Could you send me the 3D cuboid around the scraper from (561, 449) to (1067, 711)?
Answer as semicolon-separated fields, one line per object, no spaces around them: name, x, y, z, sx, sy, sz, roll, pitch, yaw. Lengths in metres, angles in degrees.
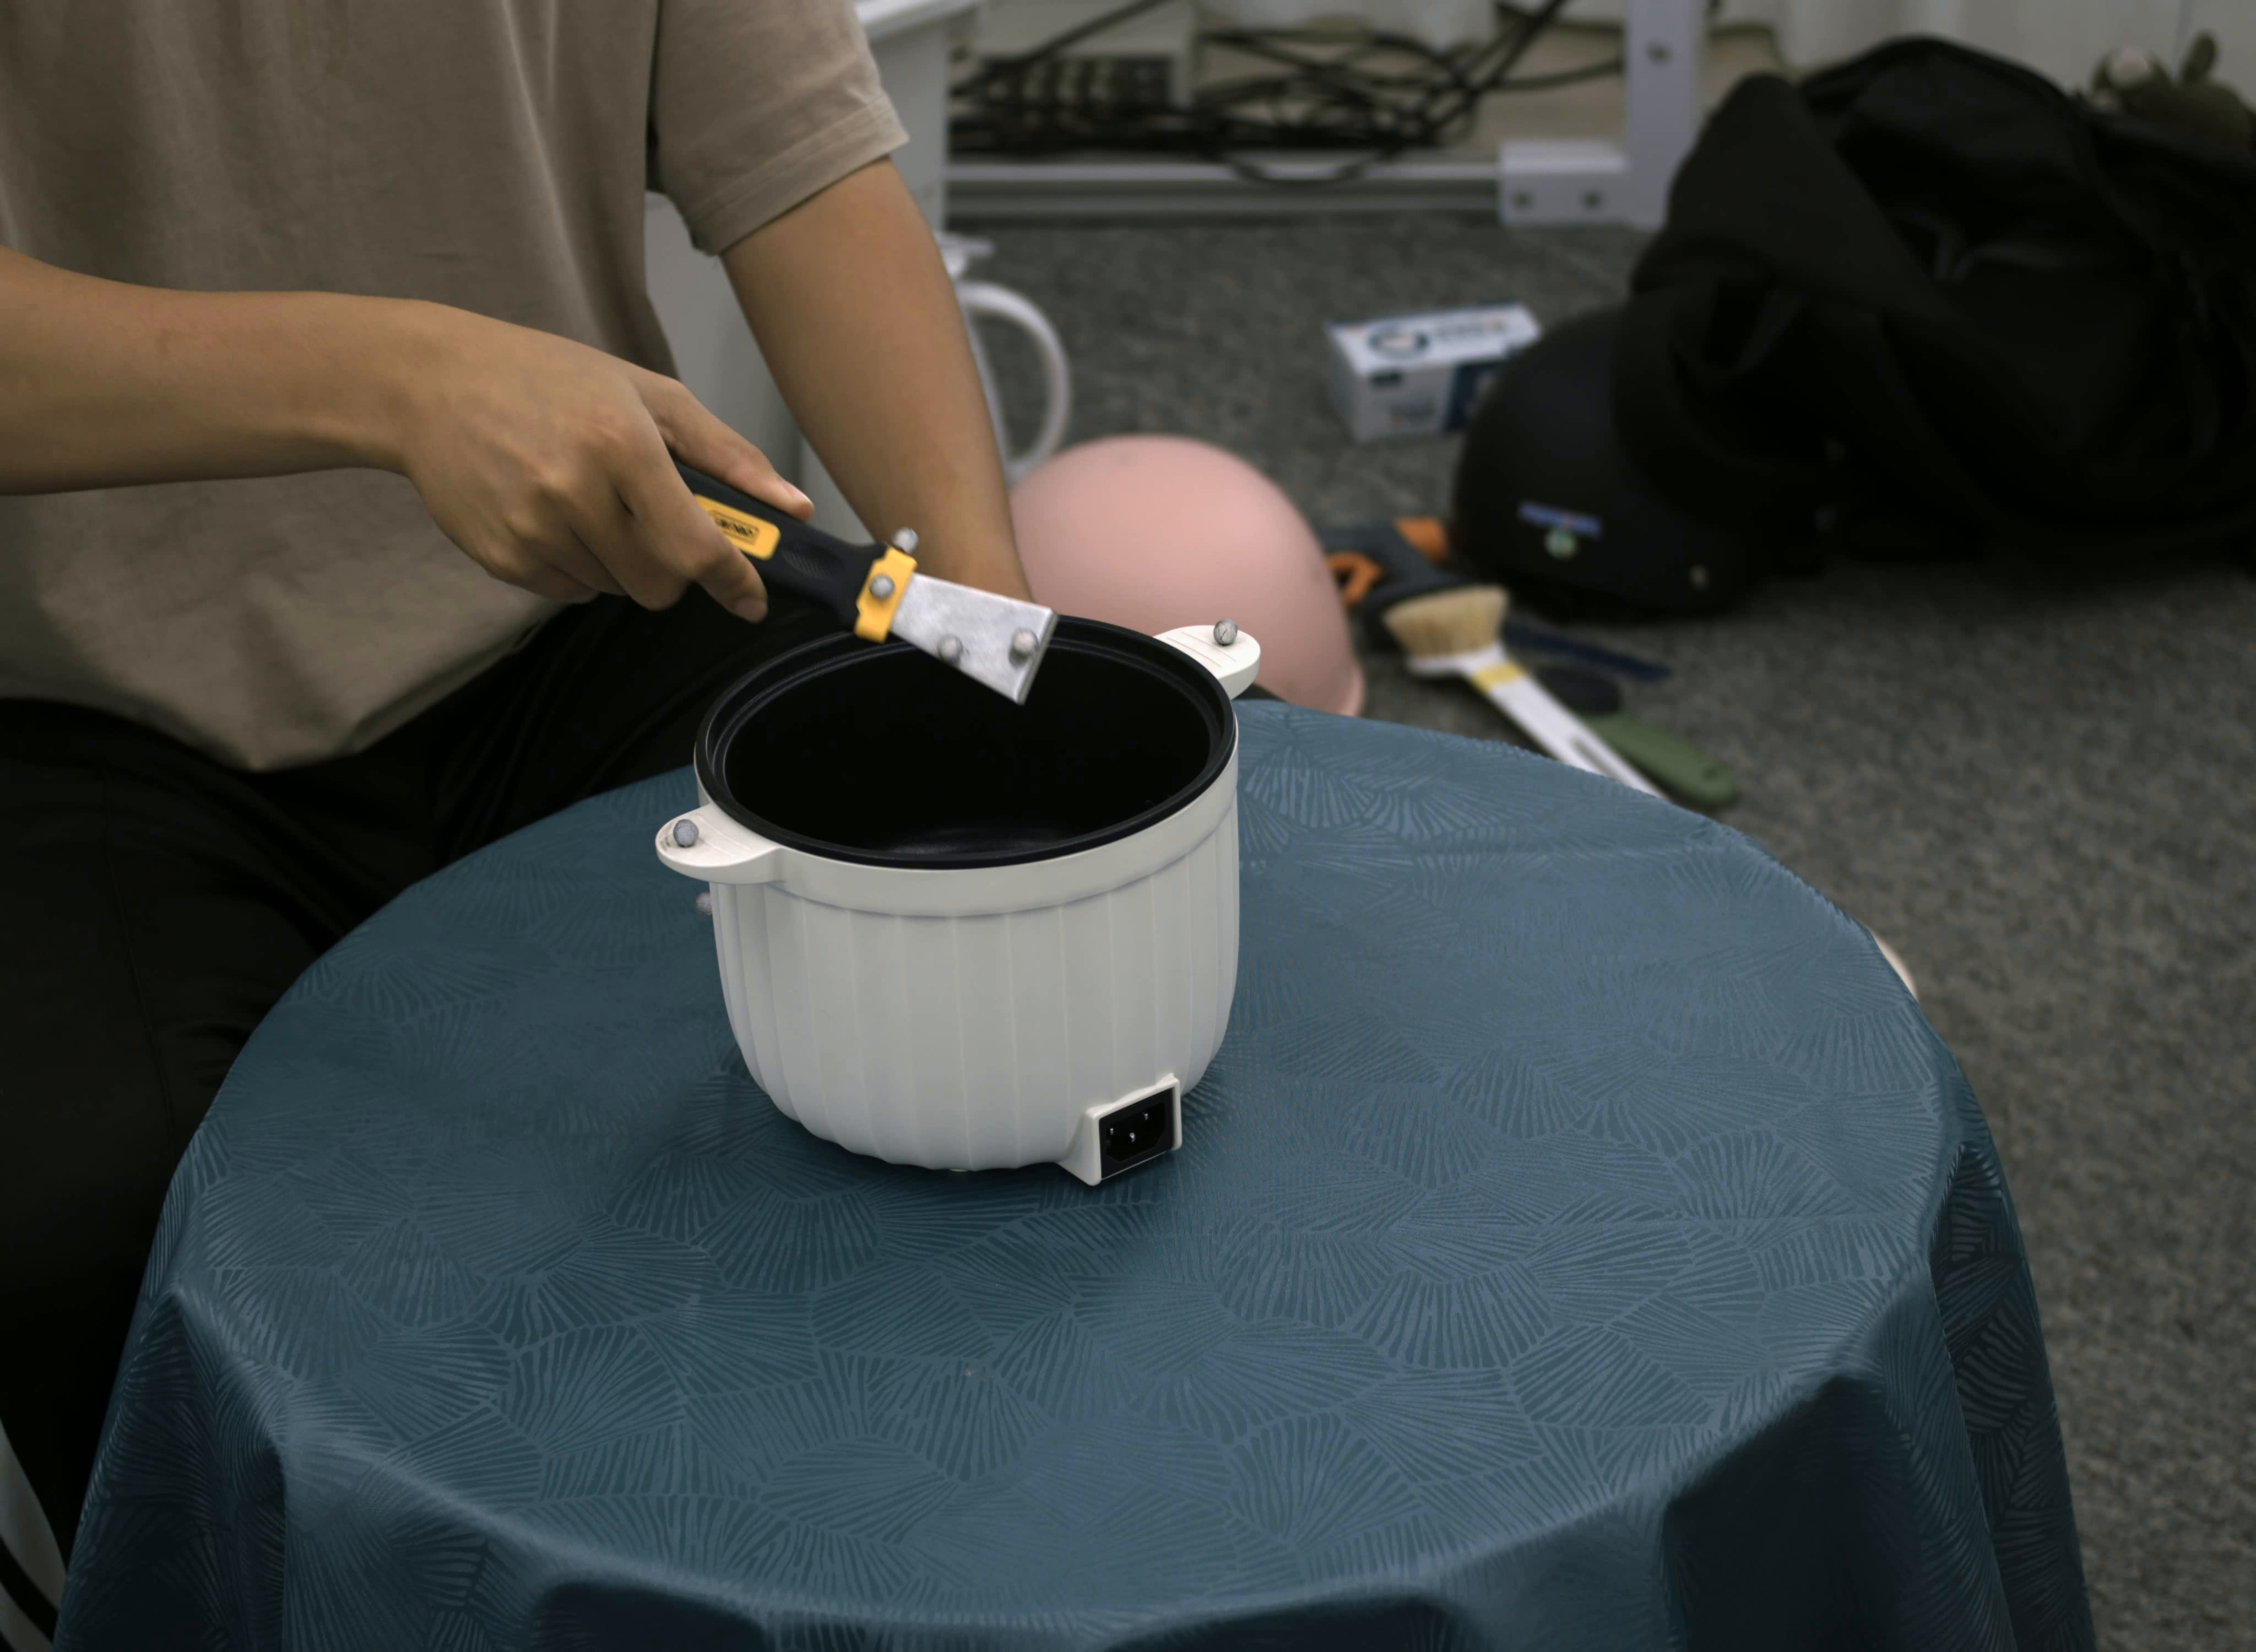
scraper;-0.105;-0.083;1.842;0.170;0.039;0.015;21;-13;0

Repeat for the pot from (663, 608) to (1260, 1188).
pot;-0.055;0.025;1.903;0.242;0.141;0.191;-21;36;-33
